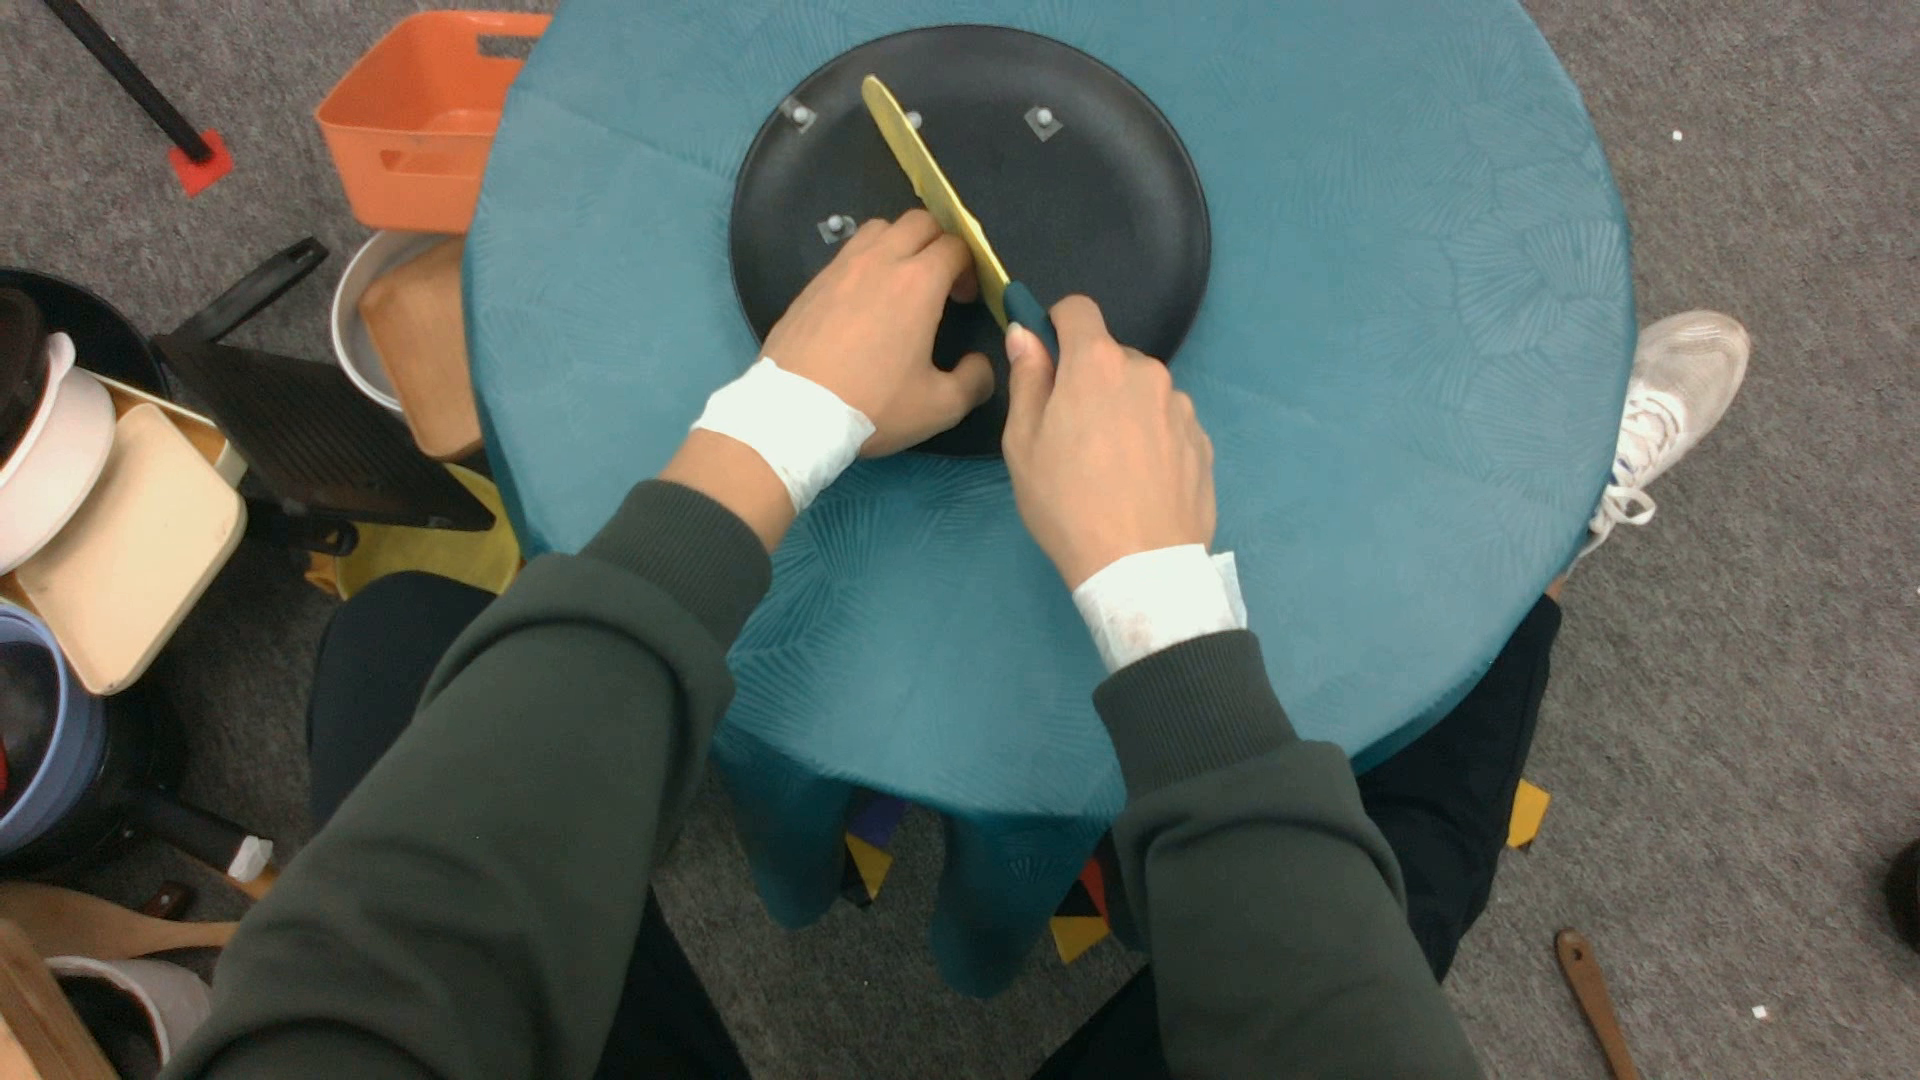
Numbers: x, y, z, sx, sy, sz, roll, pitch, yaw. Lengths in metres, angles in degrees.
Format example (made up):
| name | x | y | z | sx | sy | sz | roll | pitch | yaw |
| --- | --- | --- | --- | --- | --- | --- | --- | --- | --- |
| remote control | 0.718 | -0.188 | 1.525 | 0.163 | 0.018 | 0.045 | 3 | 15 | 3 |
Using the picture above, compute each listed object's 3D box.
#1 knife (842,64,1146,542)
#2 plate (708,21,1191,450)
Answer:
| name | x | y | z | sx | sy | sz | roll | pitch | yaw |
| --- | --- | --- | --- | --- | --- | --- | --- | --- | --- |
| knife | 0.008 | -0.118 | 0.650 | 0.027 | 0.081 | 0.290 | -29 | 71 | -2 |
| plate | -0.005 | -0.157 | 0.702 | 0.244 | 0.023 | 0.245 | 1 | 72 | -2 |
